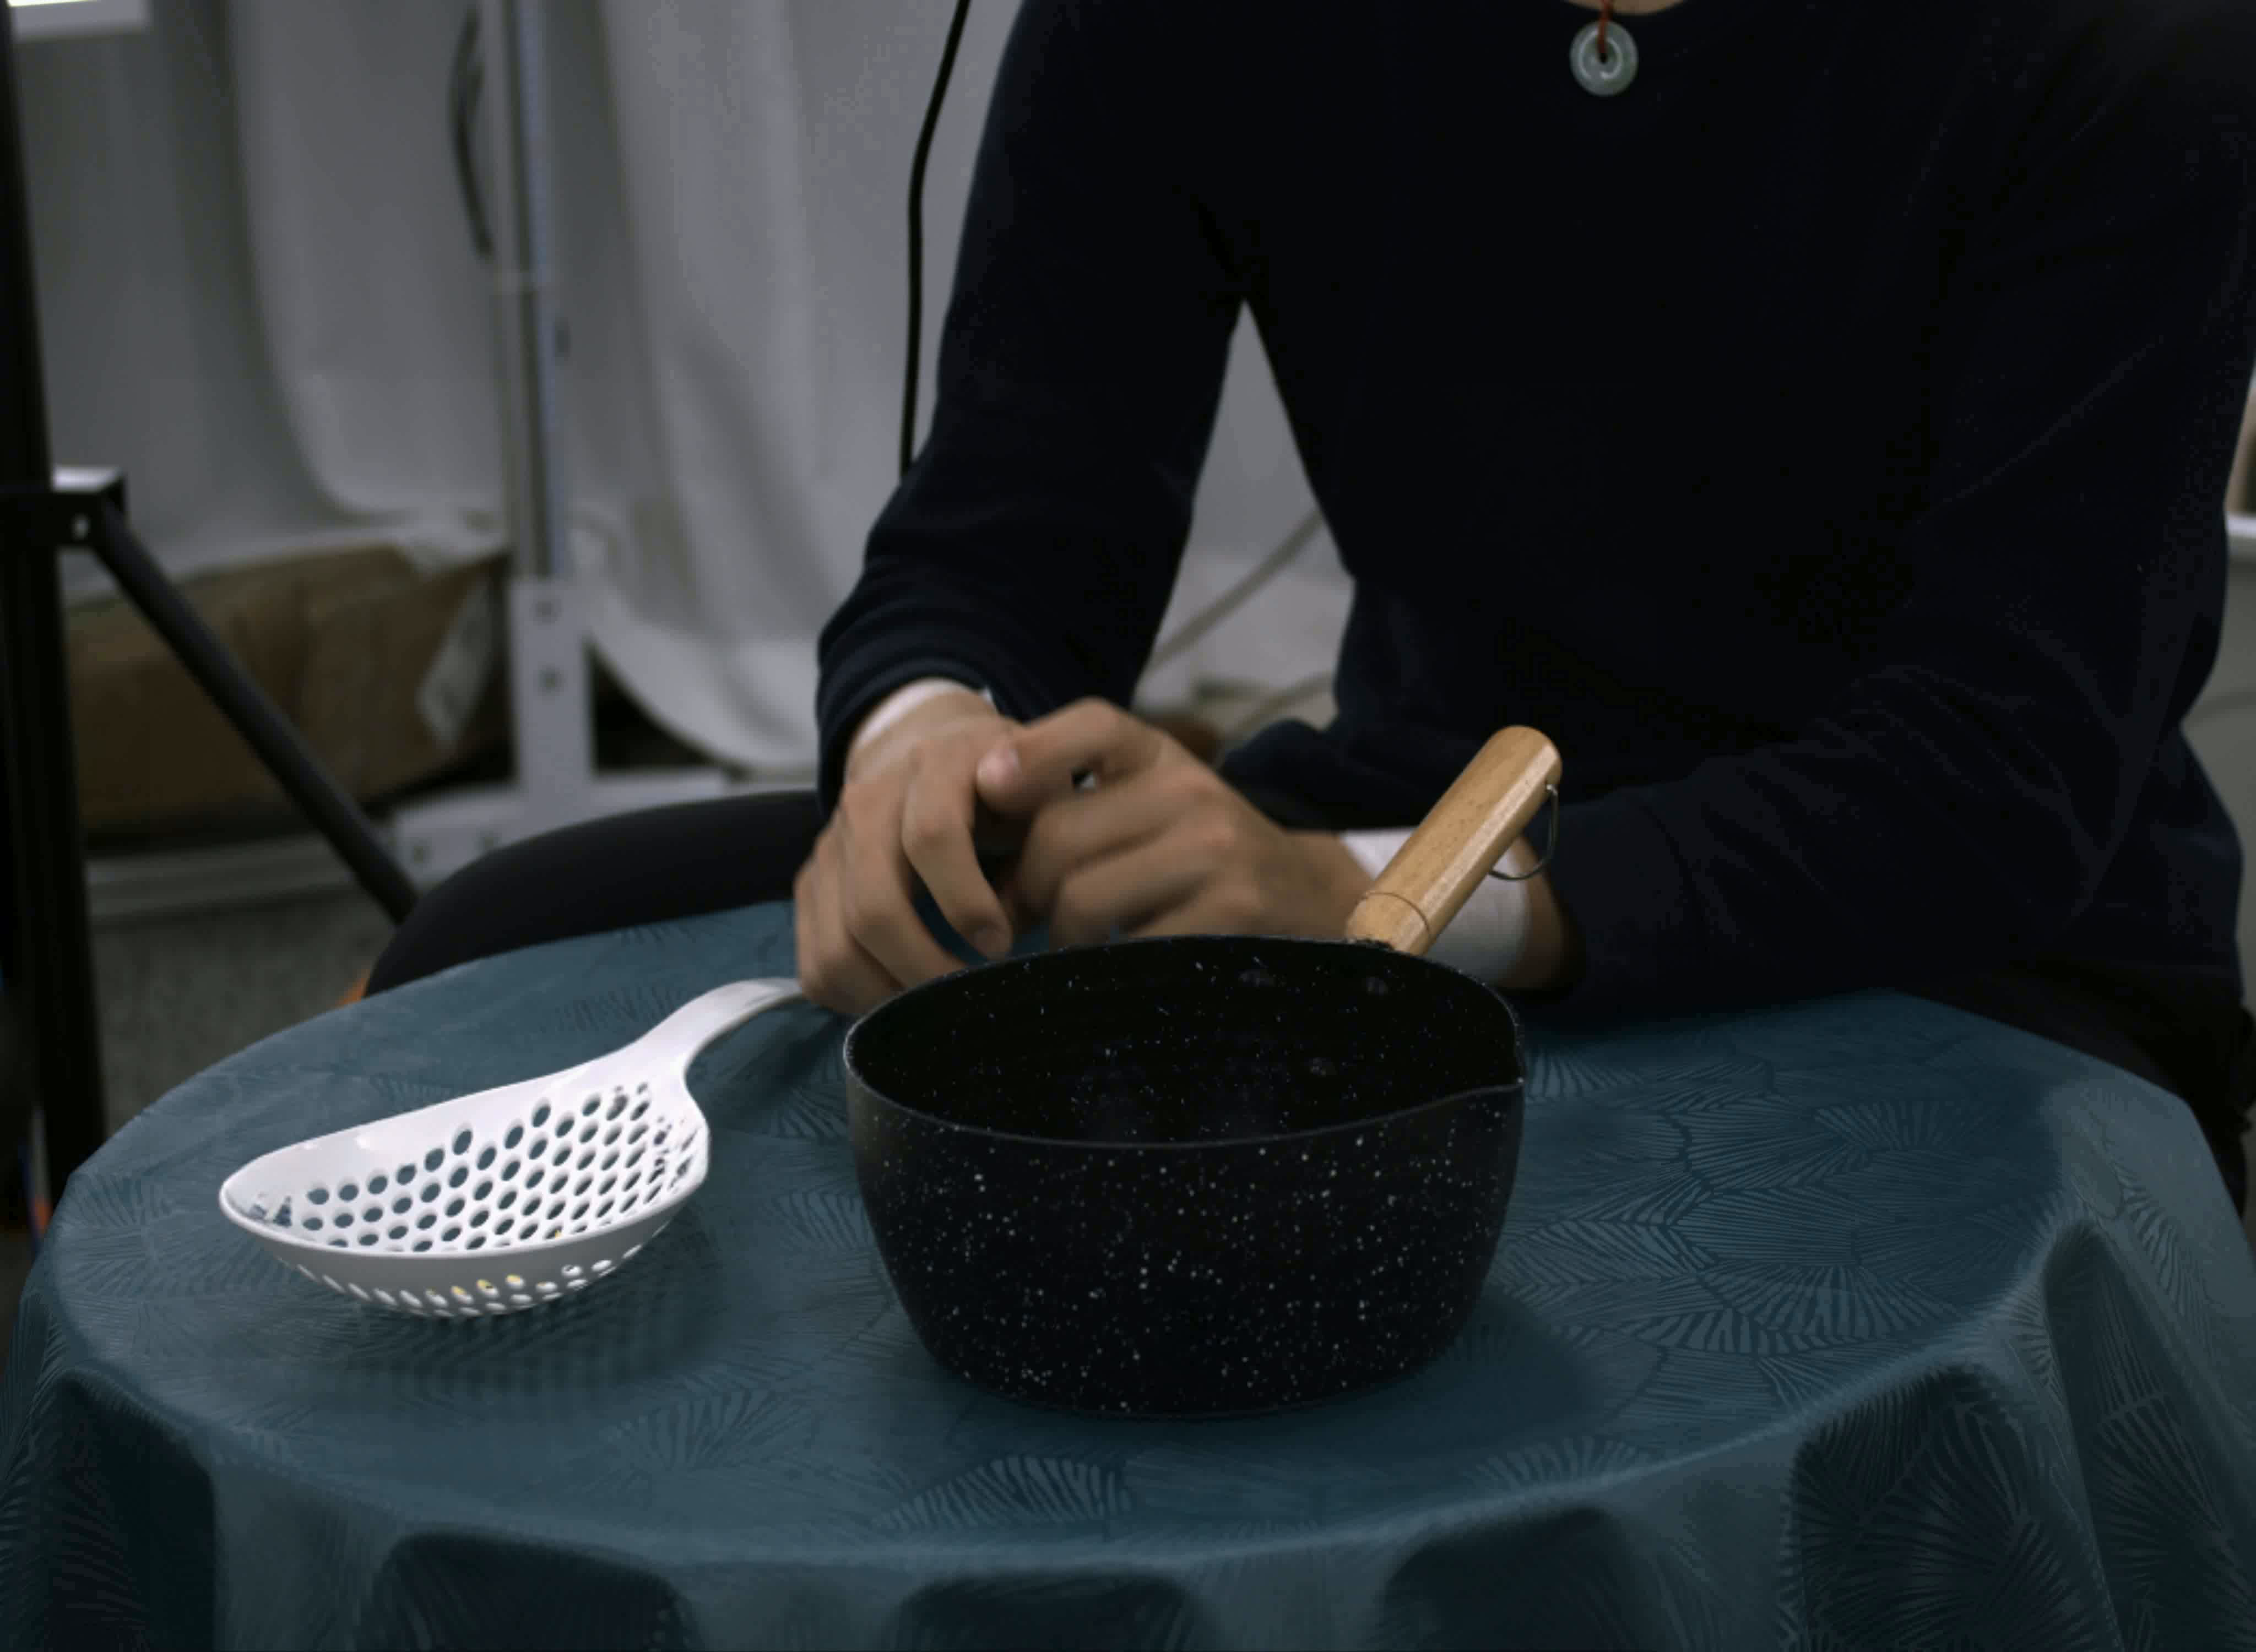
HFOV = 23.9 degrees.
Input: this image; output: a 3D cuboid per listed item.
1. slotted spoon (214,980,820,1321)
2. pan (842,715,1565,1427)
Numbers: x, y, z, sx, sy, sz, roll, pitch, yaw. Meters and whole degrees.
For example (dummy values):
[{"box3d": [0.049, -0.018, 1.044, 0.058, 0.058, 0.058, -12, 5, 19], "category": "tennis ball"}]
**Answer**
[{"box3d": [-0.151, 0.083, 1.592, 0.138, 0.050, 0.344, 1, 18, 18], "category": "slotted spoon"}, {"box3d": [0.050, 0.064, 1.506, 0.211, 0.108, 0.337, 4, 18, 26], "category": "pan"}]
